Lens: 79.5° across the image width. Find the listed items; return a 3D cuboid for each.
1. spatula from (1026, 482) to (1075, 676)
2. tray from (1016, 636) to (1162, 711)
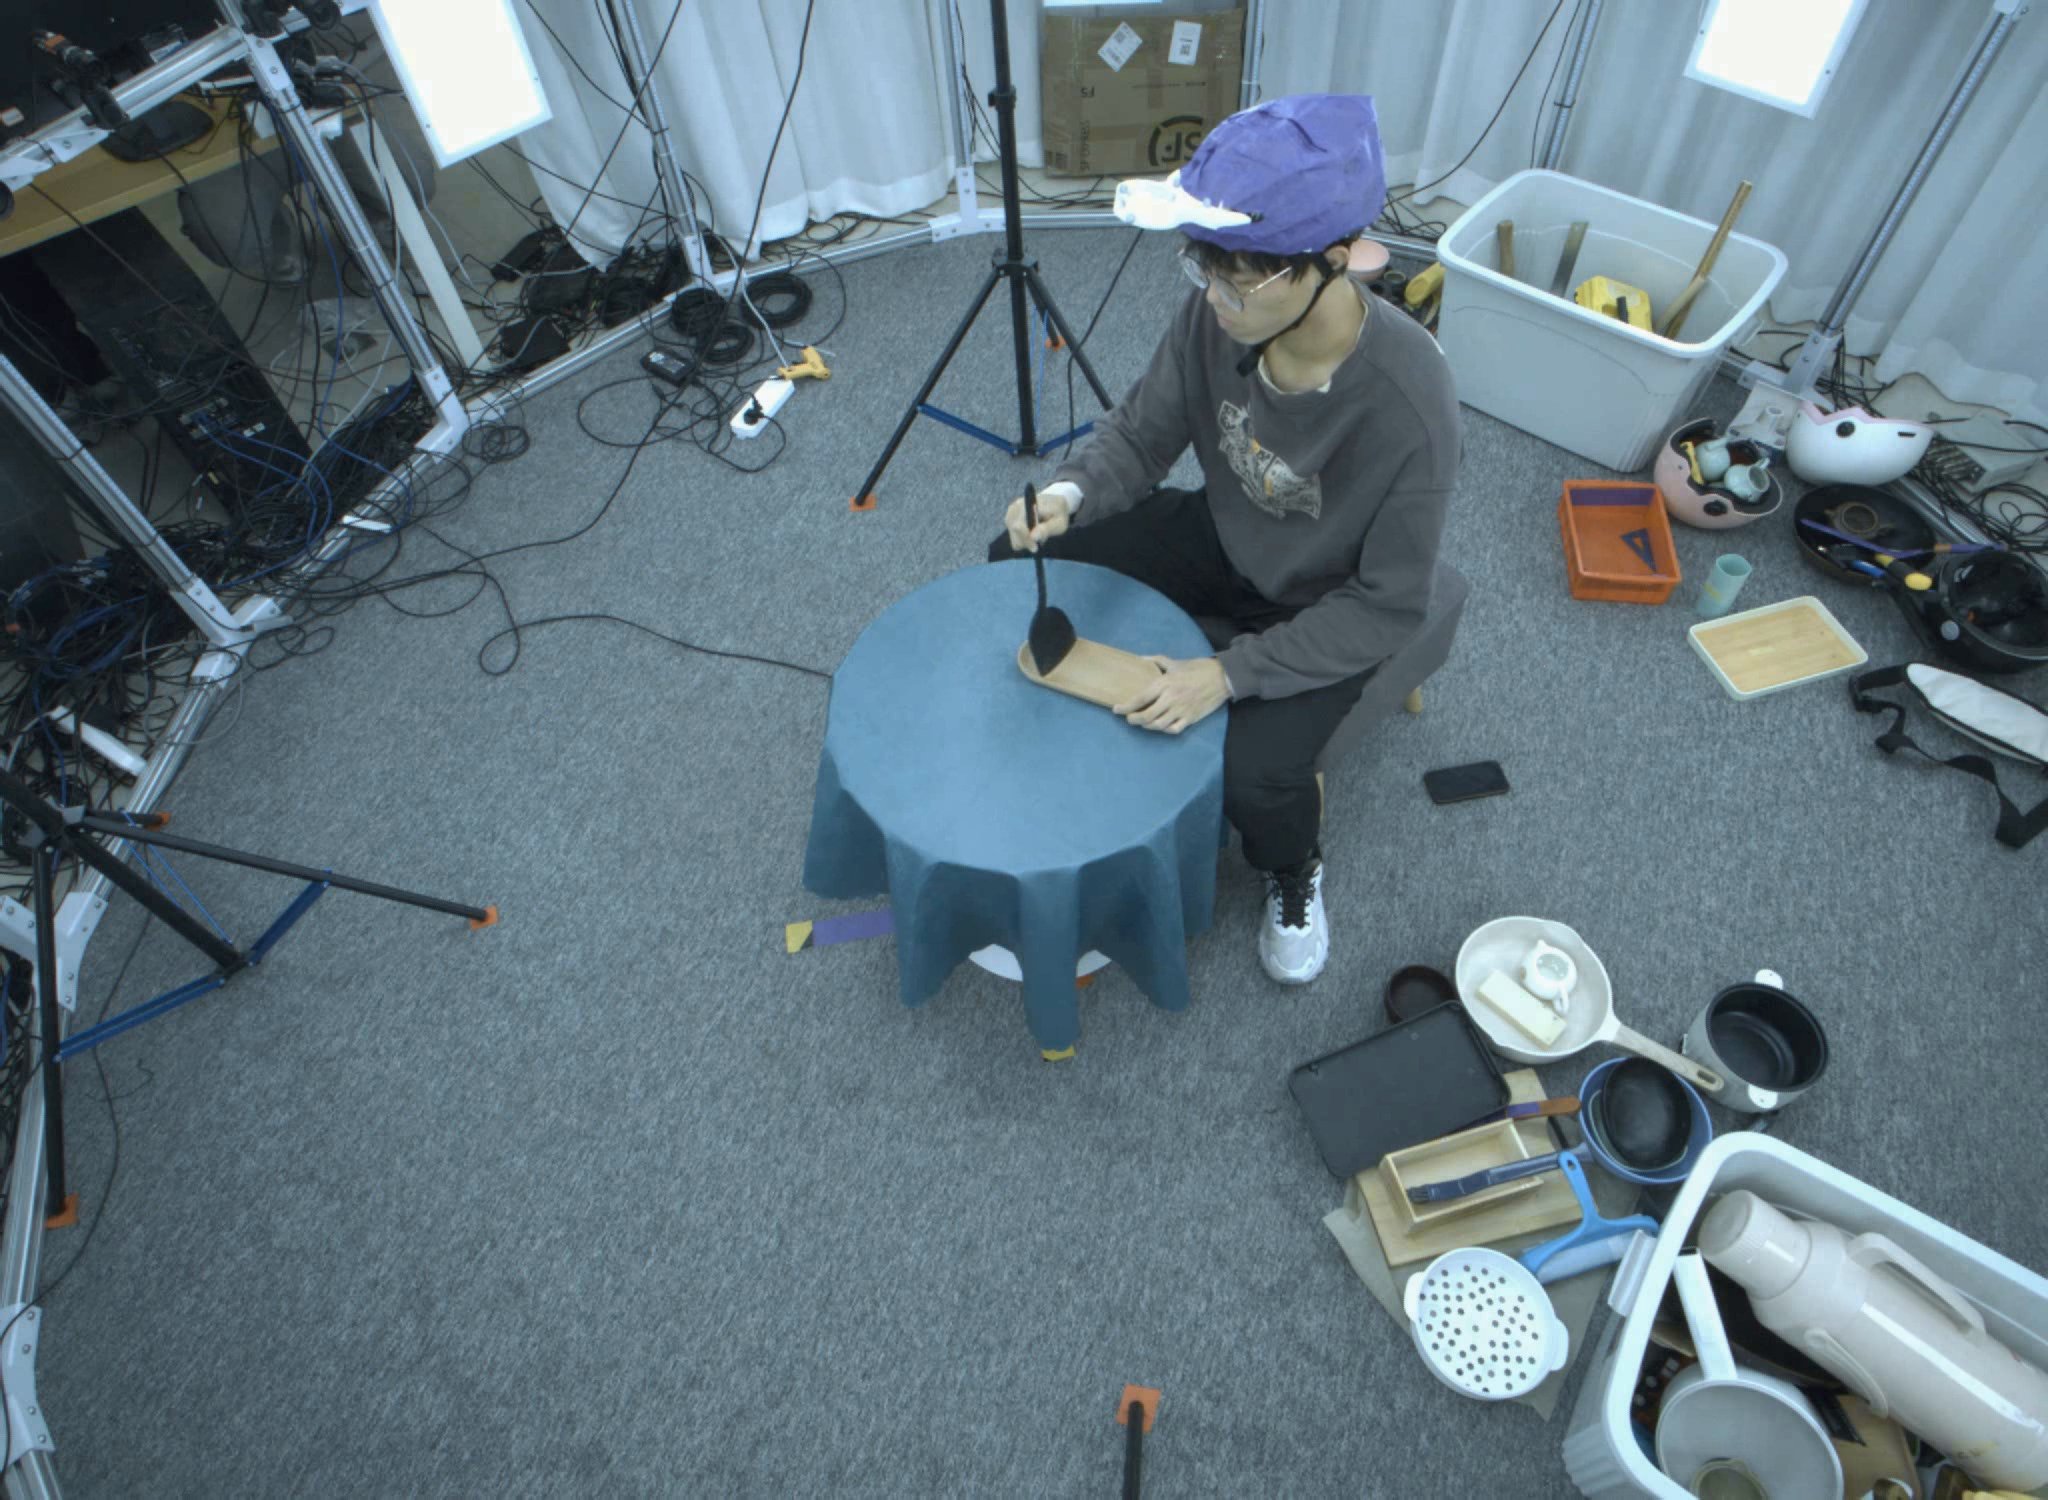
[{"bbox_3d":[0.028,-0.247,1.748,0.039,0.330,0.100,26,57,23],"label":"spatula"},{"bbox_3d":[0.097,-0.120,1.858,0.228,0.020,0.102,19,57,17],"label":"tray"}]
